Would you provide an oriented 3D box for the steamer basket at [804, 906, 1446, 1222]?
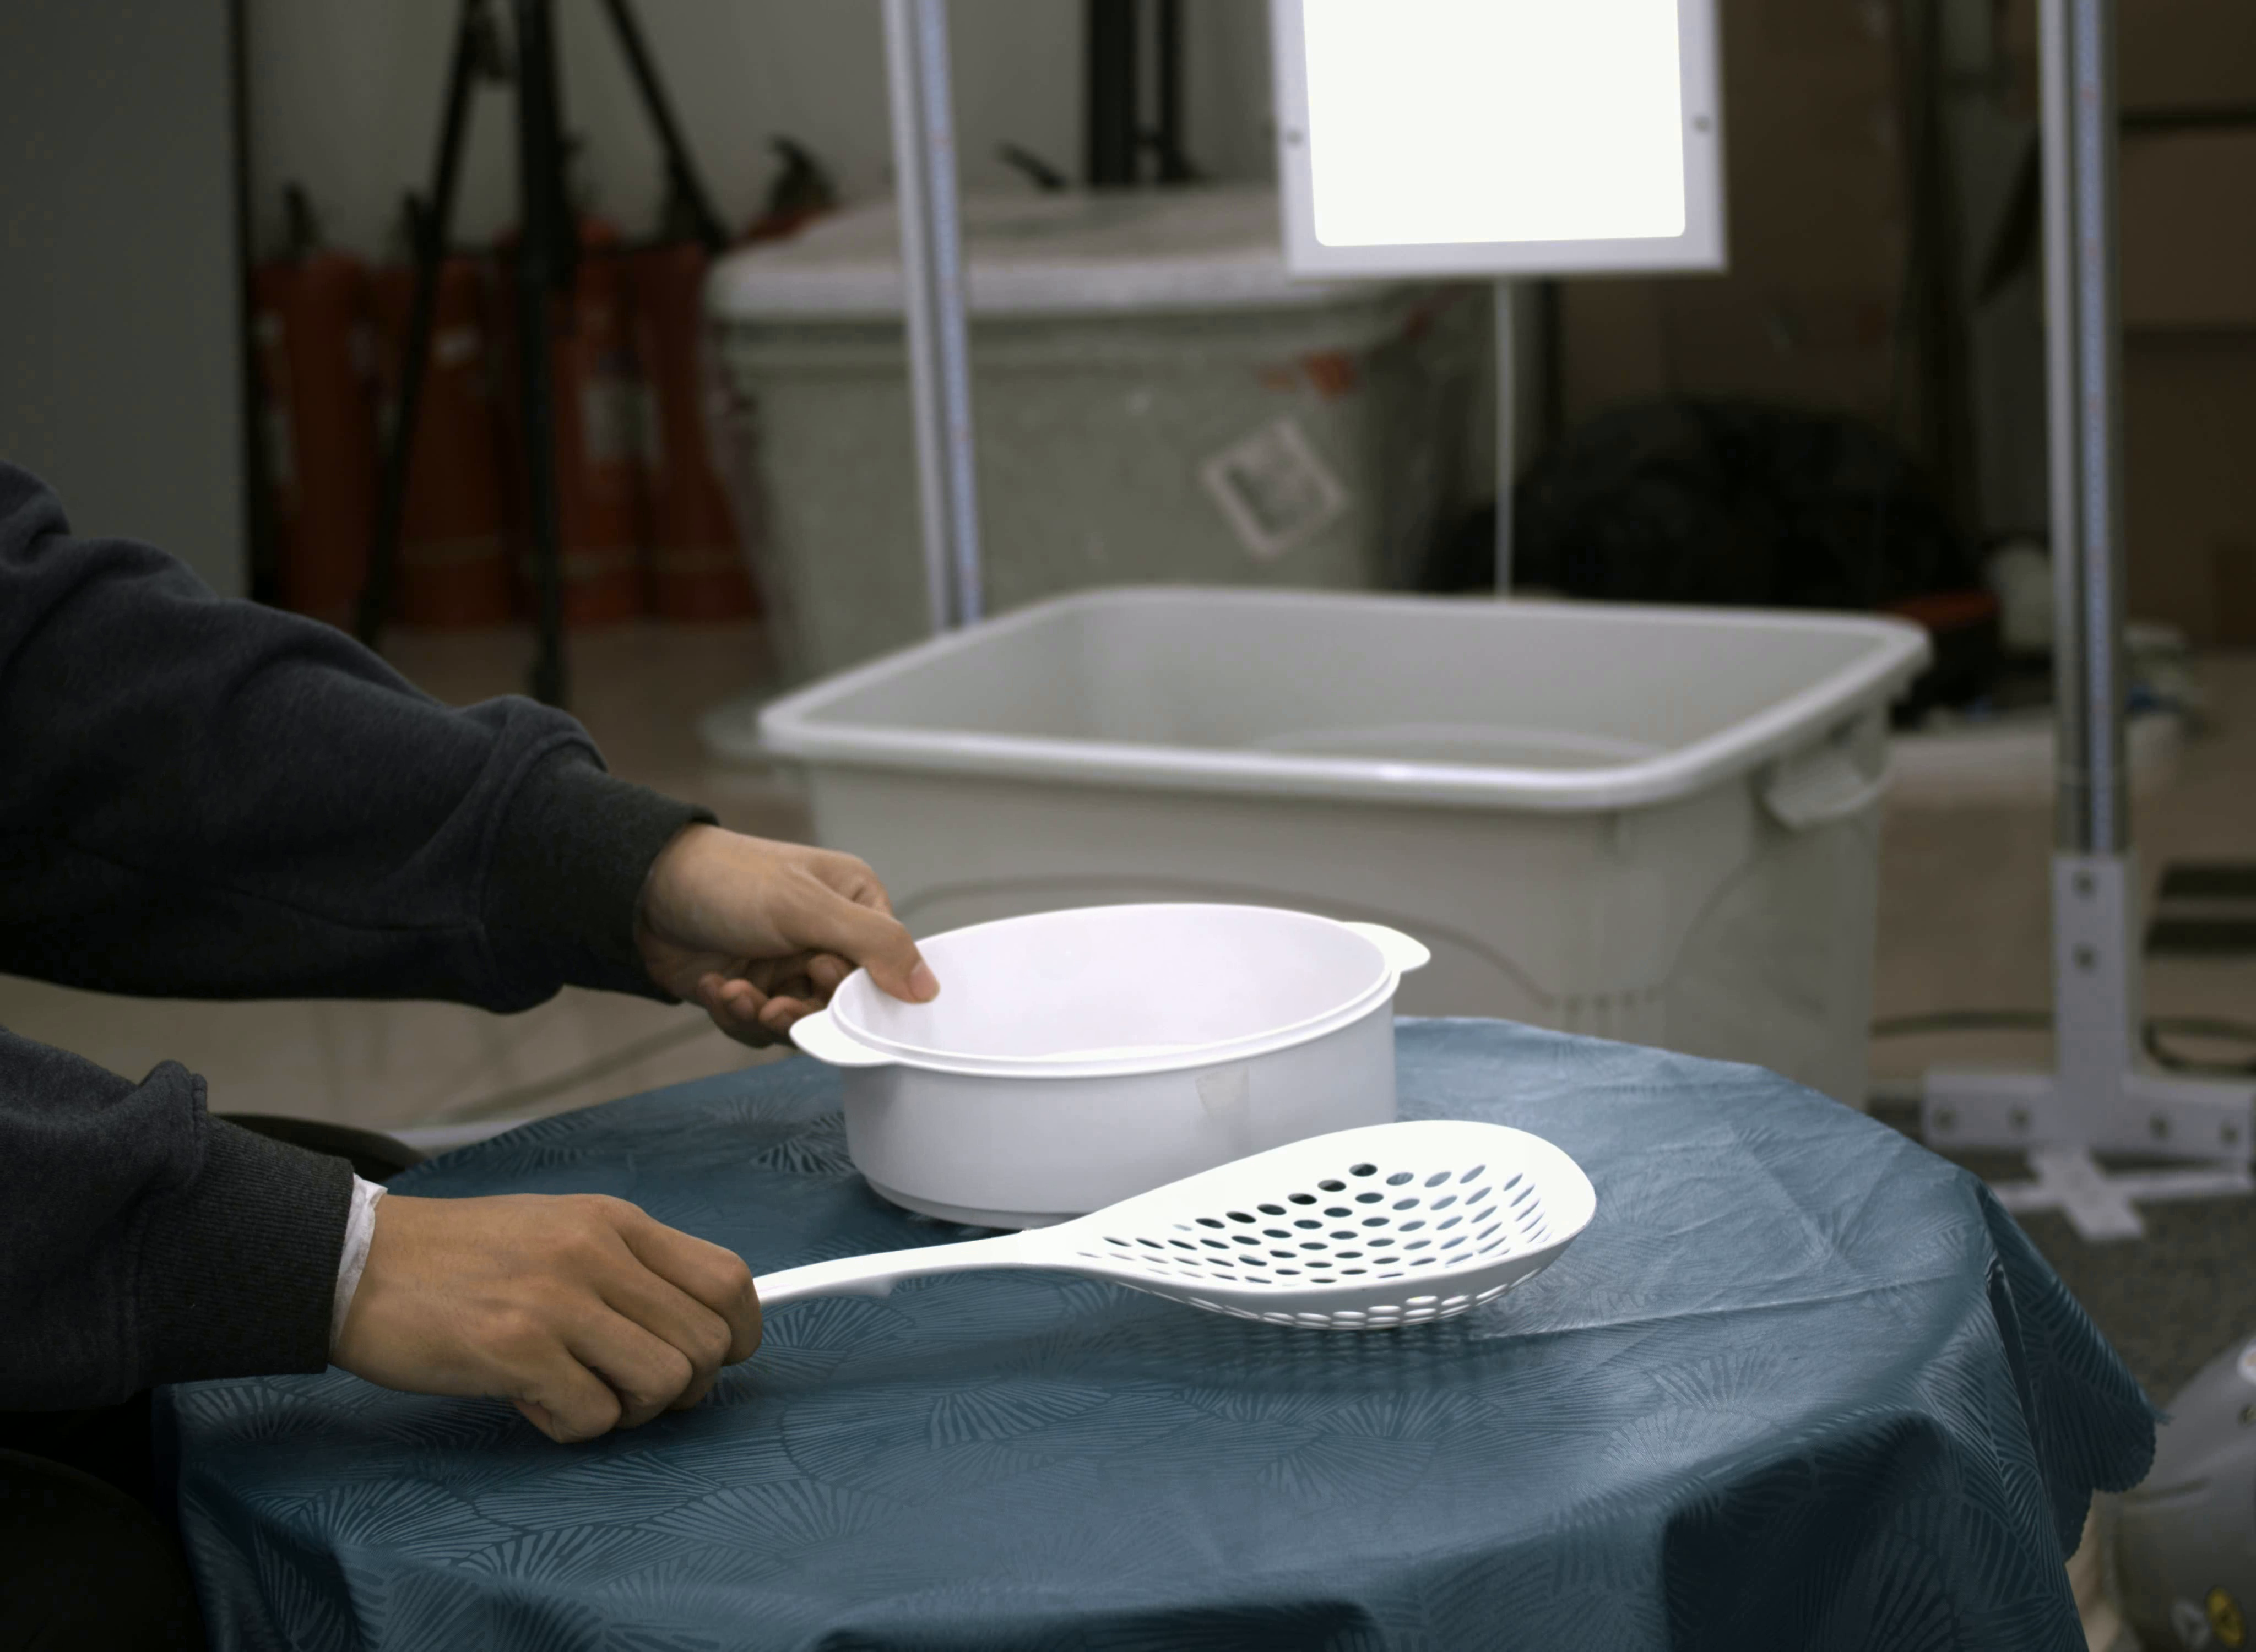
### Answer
[{"bbox_3d":[0.002,0.084,1.926,0.227,0.069,0.204,-7,14,-18],"label":"steamer basket"}]

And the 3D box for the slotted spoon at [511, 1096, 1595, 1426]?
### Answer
[{"bbox_3d":[-0.024,0.144,1.741,0.345,0.050,0.137,-6,19,-5],"label":"slotted spoon"}]
